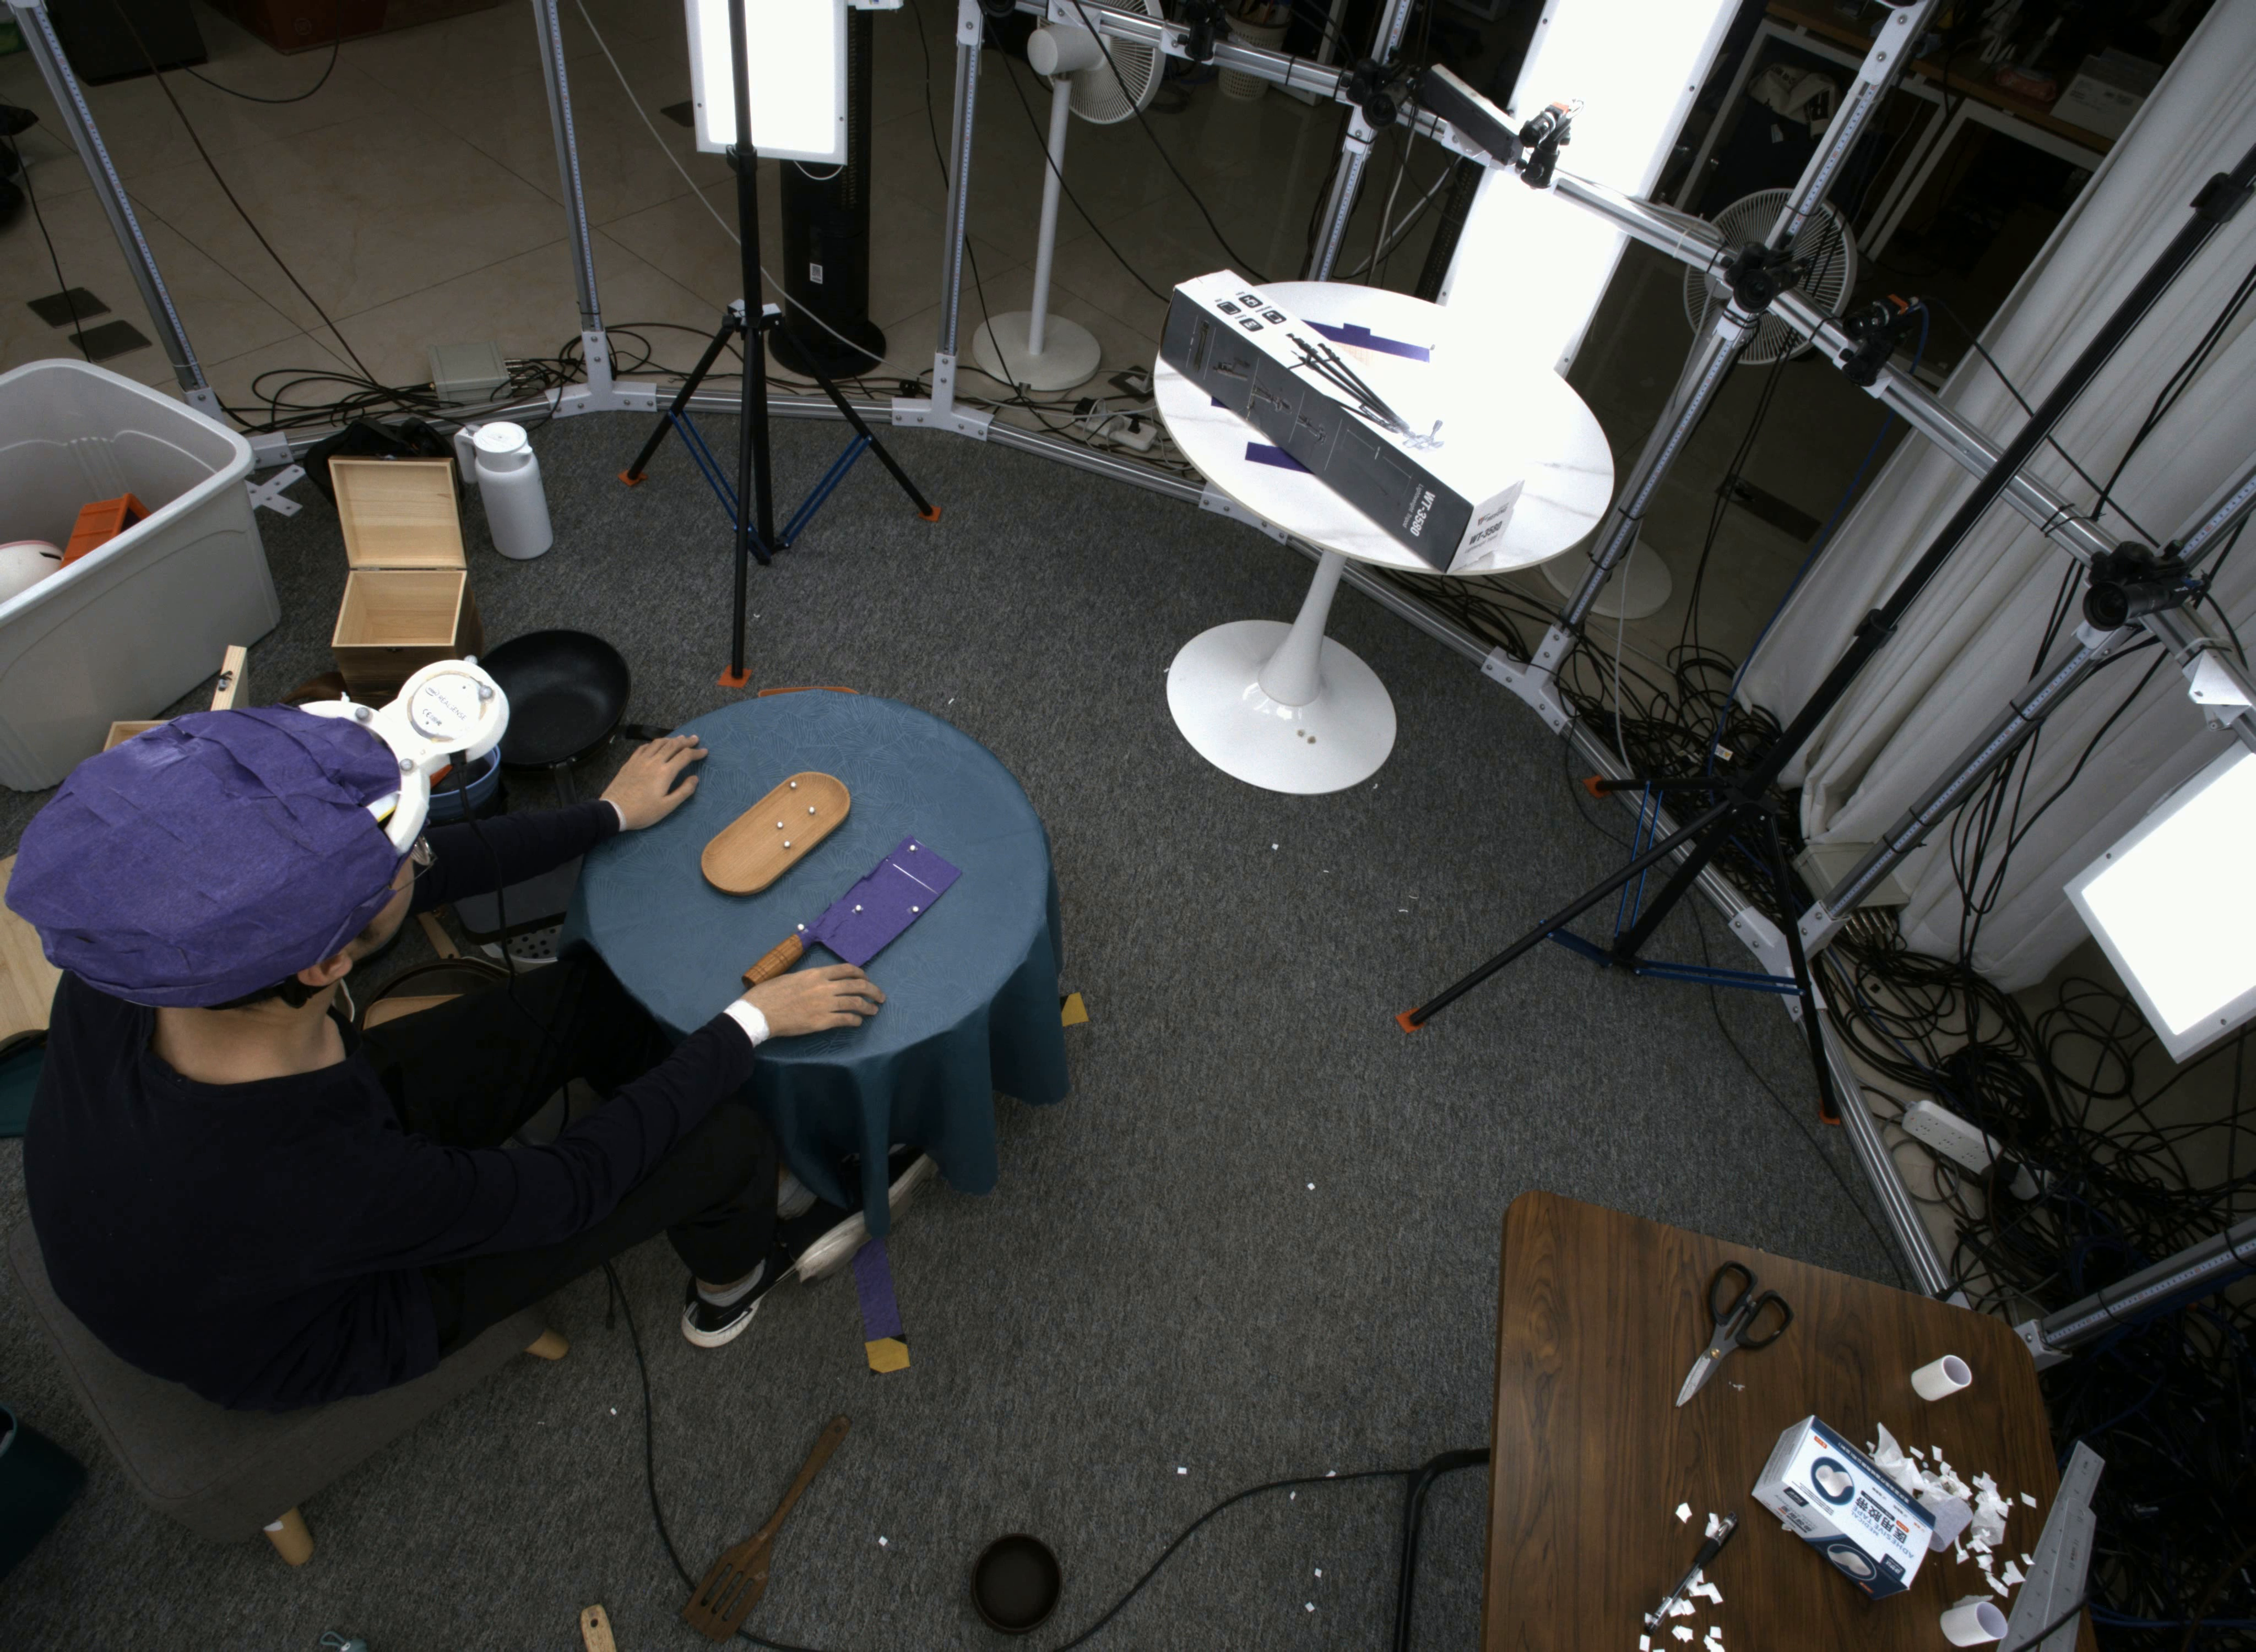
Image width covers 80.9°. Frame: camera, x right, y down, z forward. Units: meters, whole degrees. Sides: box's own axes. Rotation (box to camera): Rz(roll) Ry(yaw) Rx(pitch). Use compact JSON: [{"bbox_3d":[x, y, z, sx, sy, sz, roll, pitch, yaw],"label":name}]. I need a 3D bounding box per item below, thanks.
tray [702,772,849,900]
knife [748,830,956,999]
[{"bbox_3d":[-0.462,0.010,1.707,0.100,0.021,0.231,33,55,12],"label":"tray"},{"bbox_3d":[-0.341,0.119,1.651,0.102,0.033,0.315,33,53,12],"label":"knife"}]
